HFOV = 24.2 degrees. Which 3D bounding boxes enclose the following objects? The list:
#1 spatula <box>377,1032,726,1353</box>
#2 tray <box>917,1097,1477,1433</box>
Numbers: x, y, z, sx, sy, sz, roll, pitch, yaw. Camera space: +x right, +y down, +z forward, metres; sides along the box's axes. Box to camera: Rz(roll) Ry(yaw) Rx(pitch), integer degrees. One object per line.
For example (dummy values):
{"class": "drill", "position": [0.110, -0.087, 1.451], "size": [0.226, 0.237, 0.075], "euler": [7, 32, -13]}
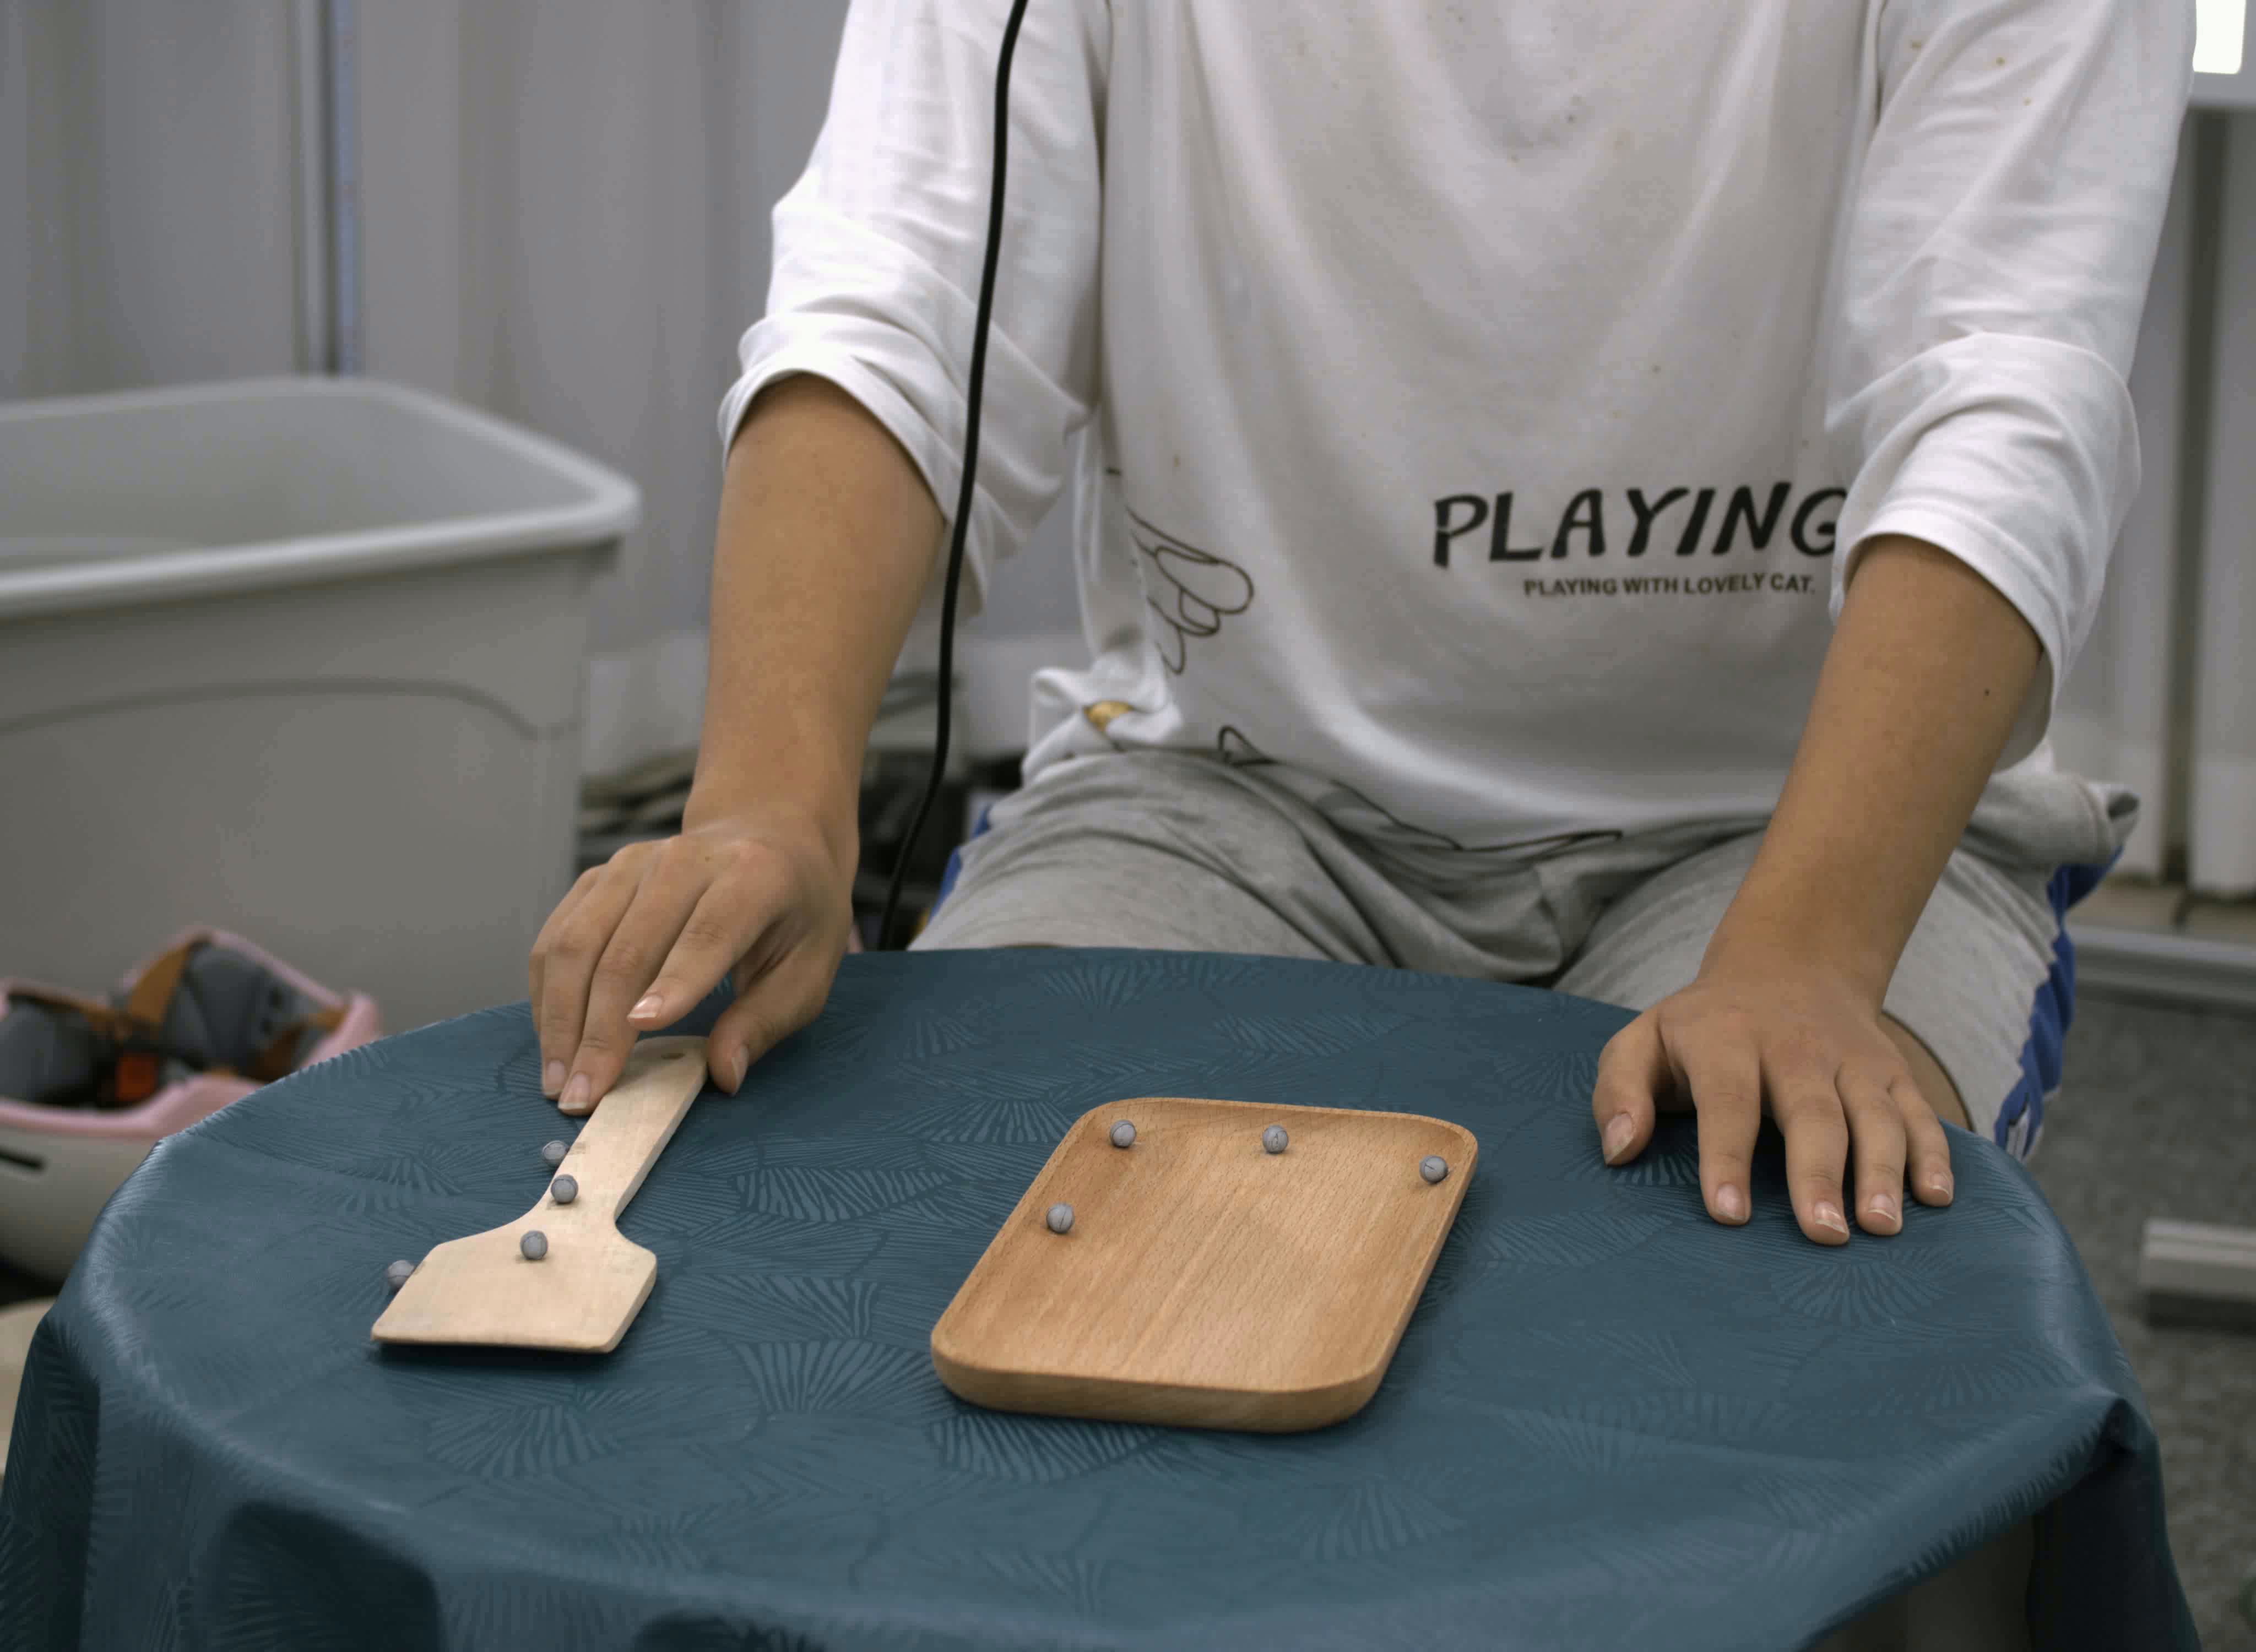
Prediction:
{"class": "spatula", "position": [-0.163, 0.109, 1.615], "size": [0.072, 0.011, 0.292], "euler": [2, 15, 6]}
{"class": "tray", "position": [0.025, 0.126, 1.551], "size": [0.129, 0.023, 0.250], "euler": [2, 15, 13]}
